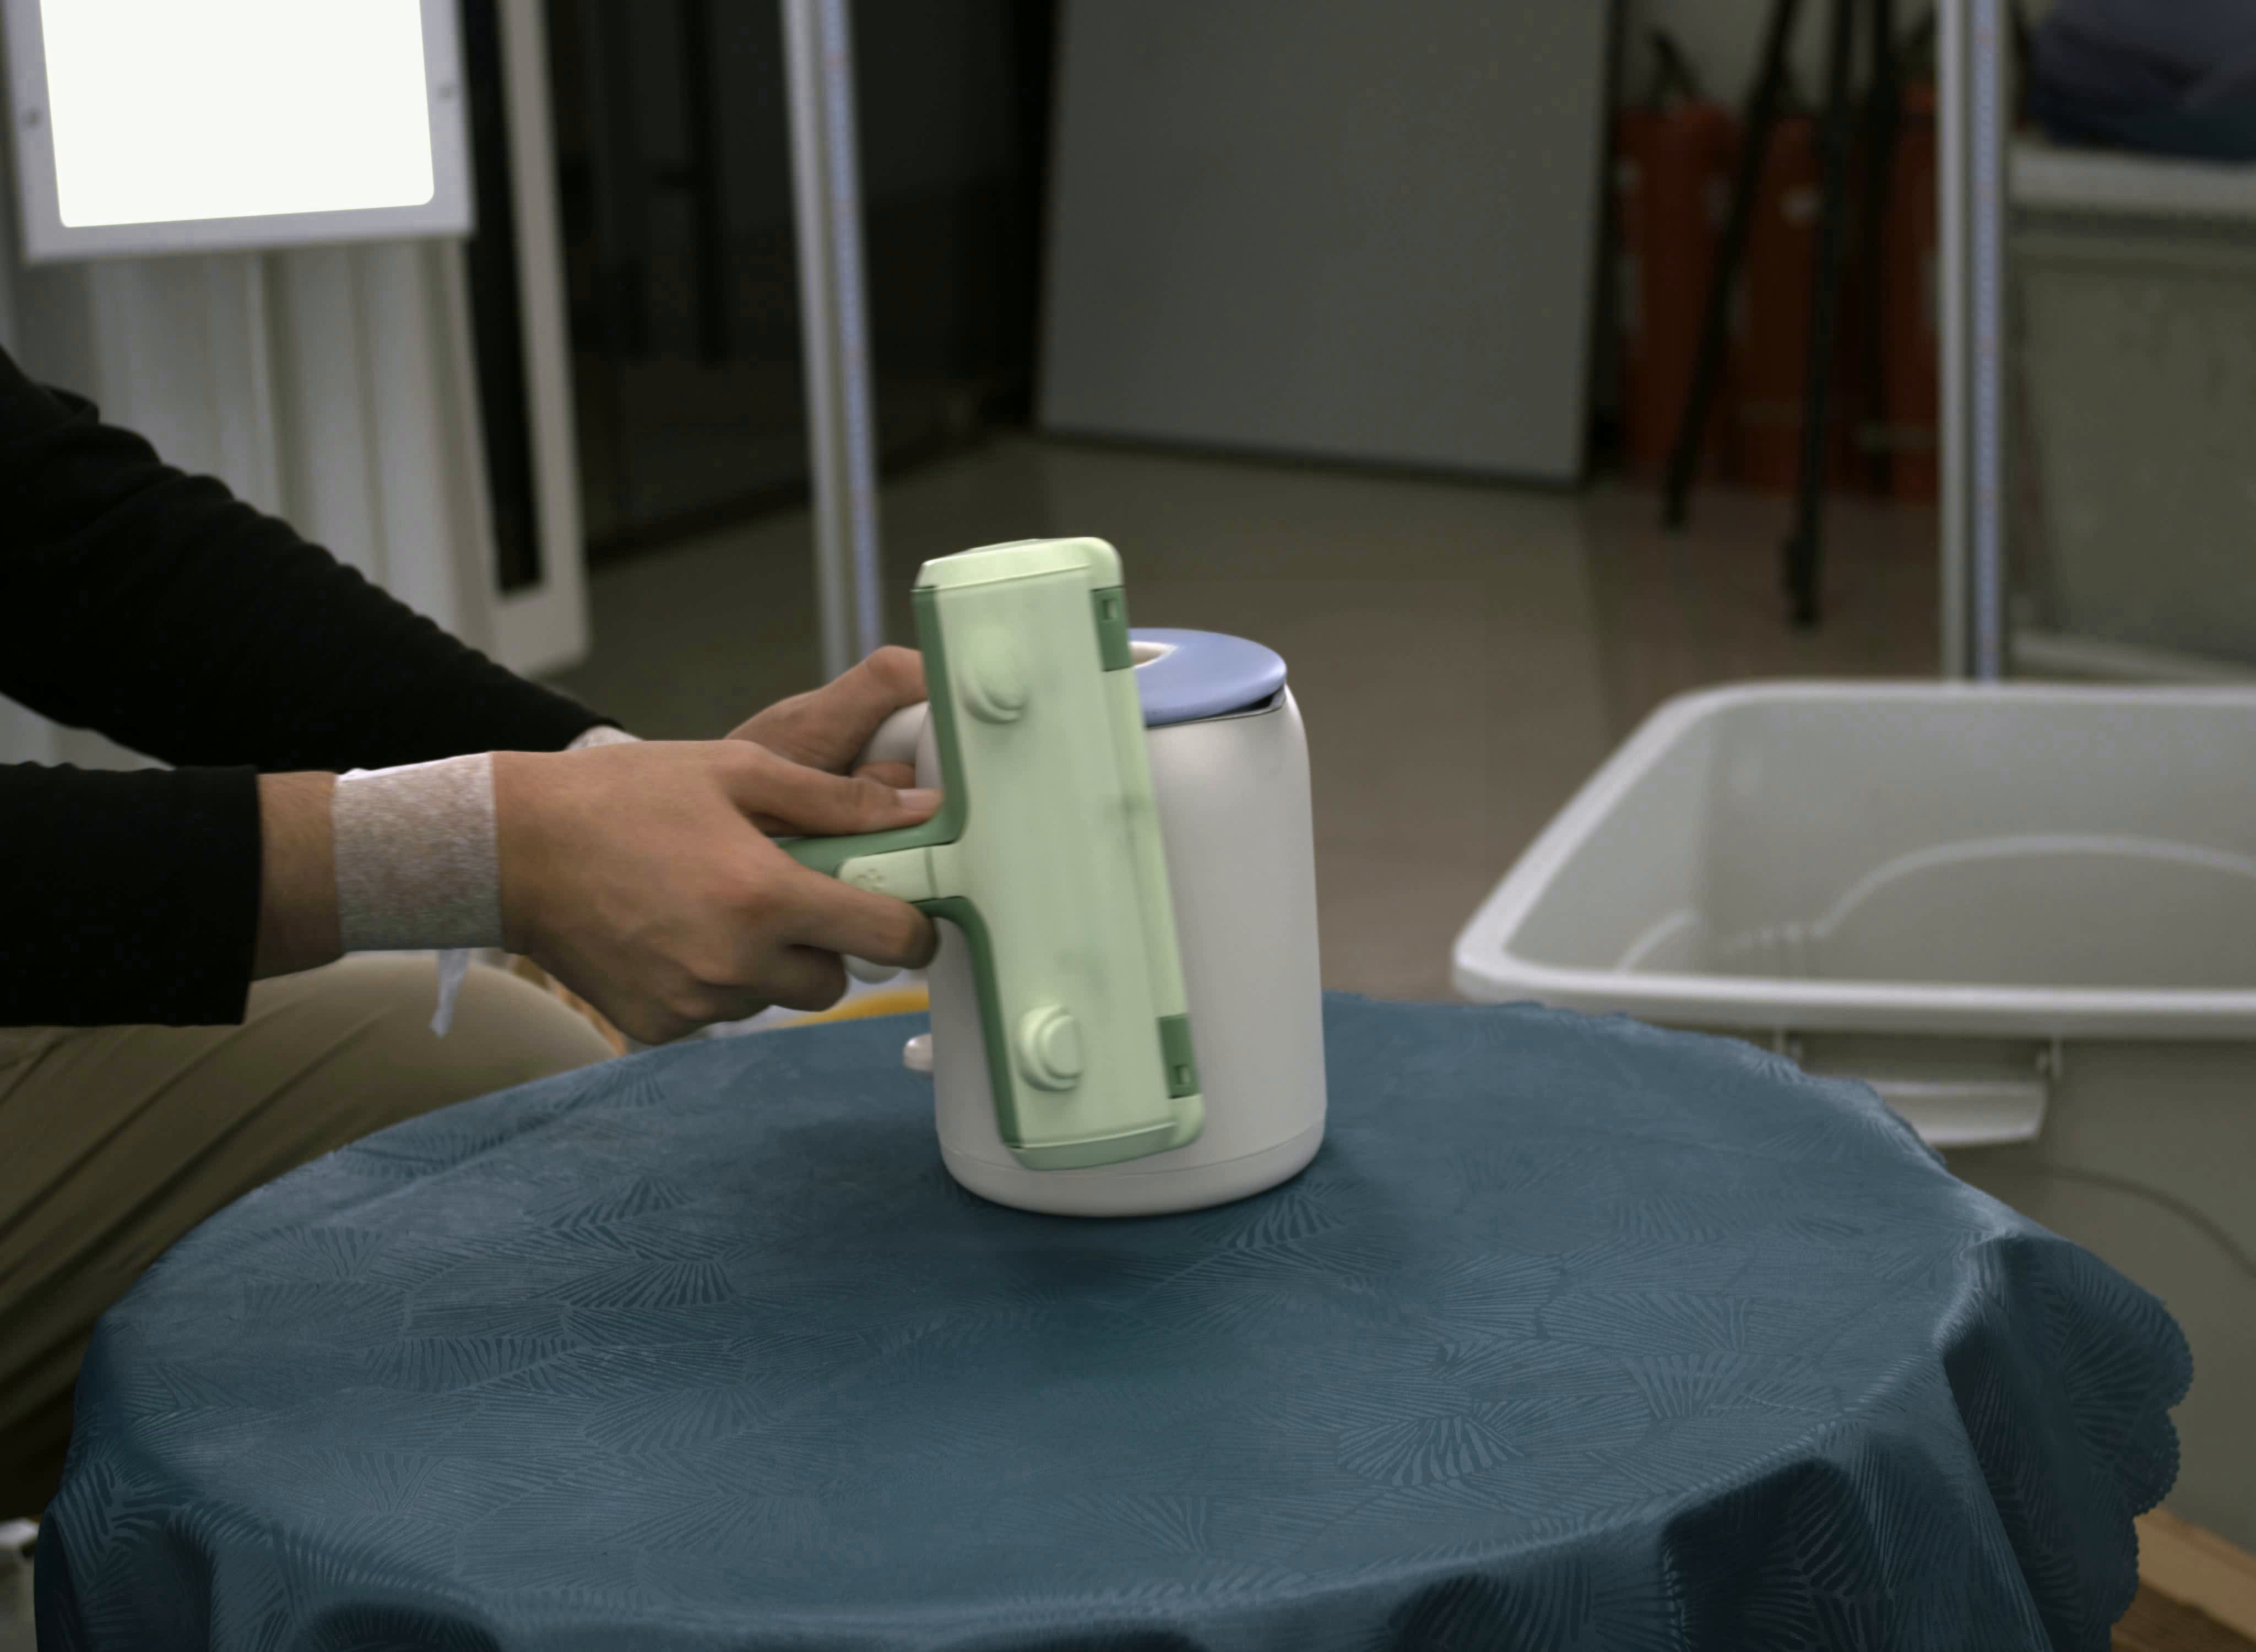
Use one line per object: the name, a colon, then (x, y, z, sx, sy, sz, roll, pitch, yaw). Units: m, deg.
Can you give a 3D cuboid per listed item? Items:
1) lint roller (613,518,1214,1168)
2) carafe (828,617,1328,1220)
lint roller: (-0.076, 0.015, 1.680, 0.181, 0.201, 0.082, -9, 3, 5)
carafe: (-0.022, 0.028, 1.793, 0.192, 0.184, 0.130, 4, 14, 36)
